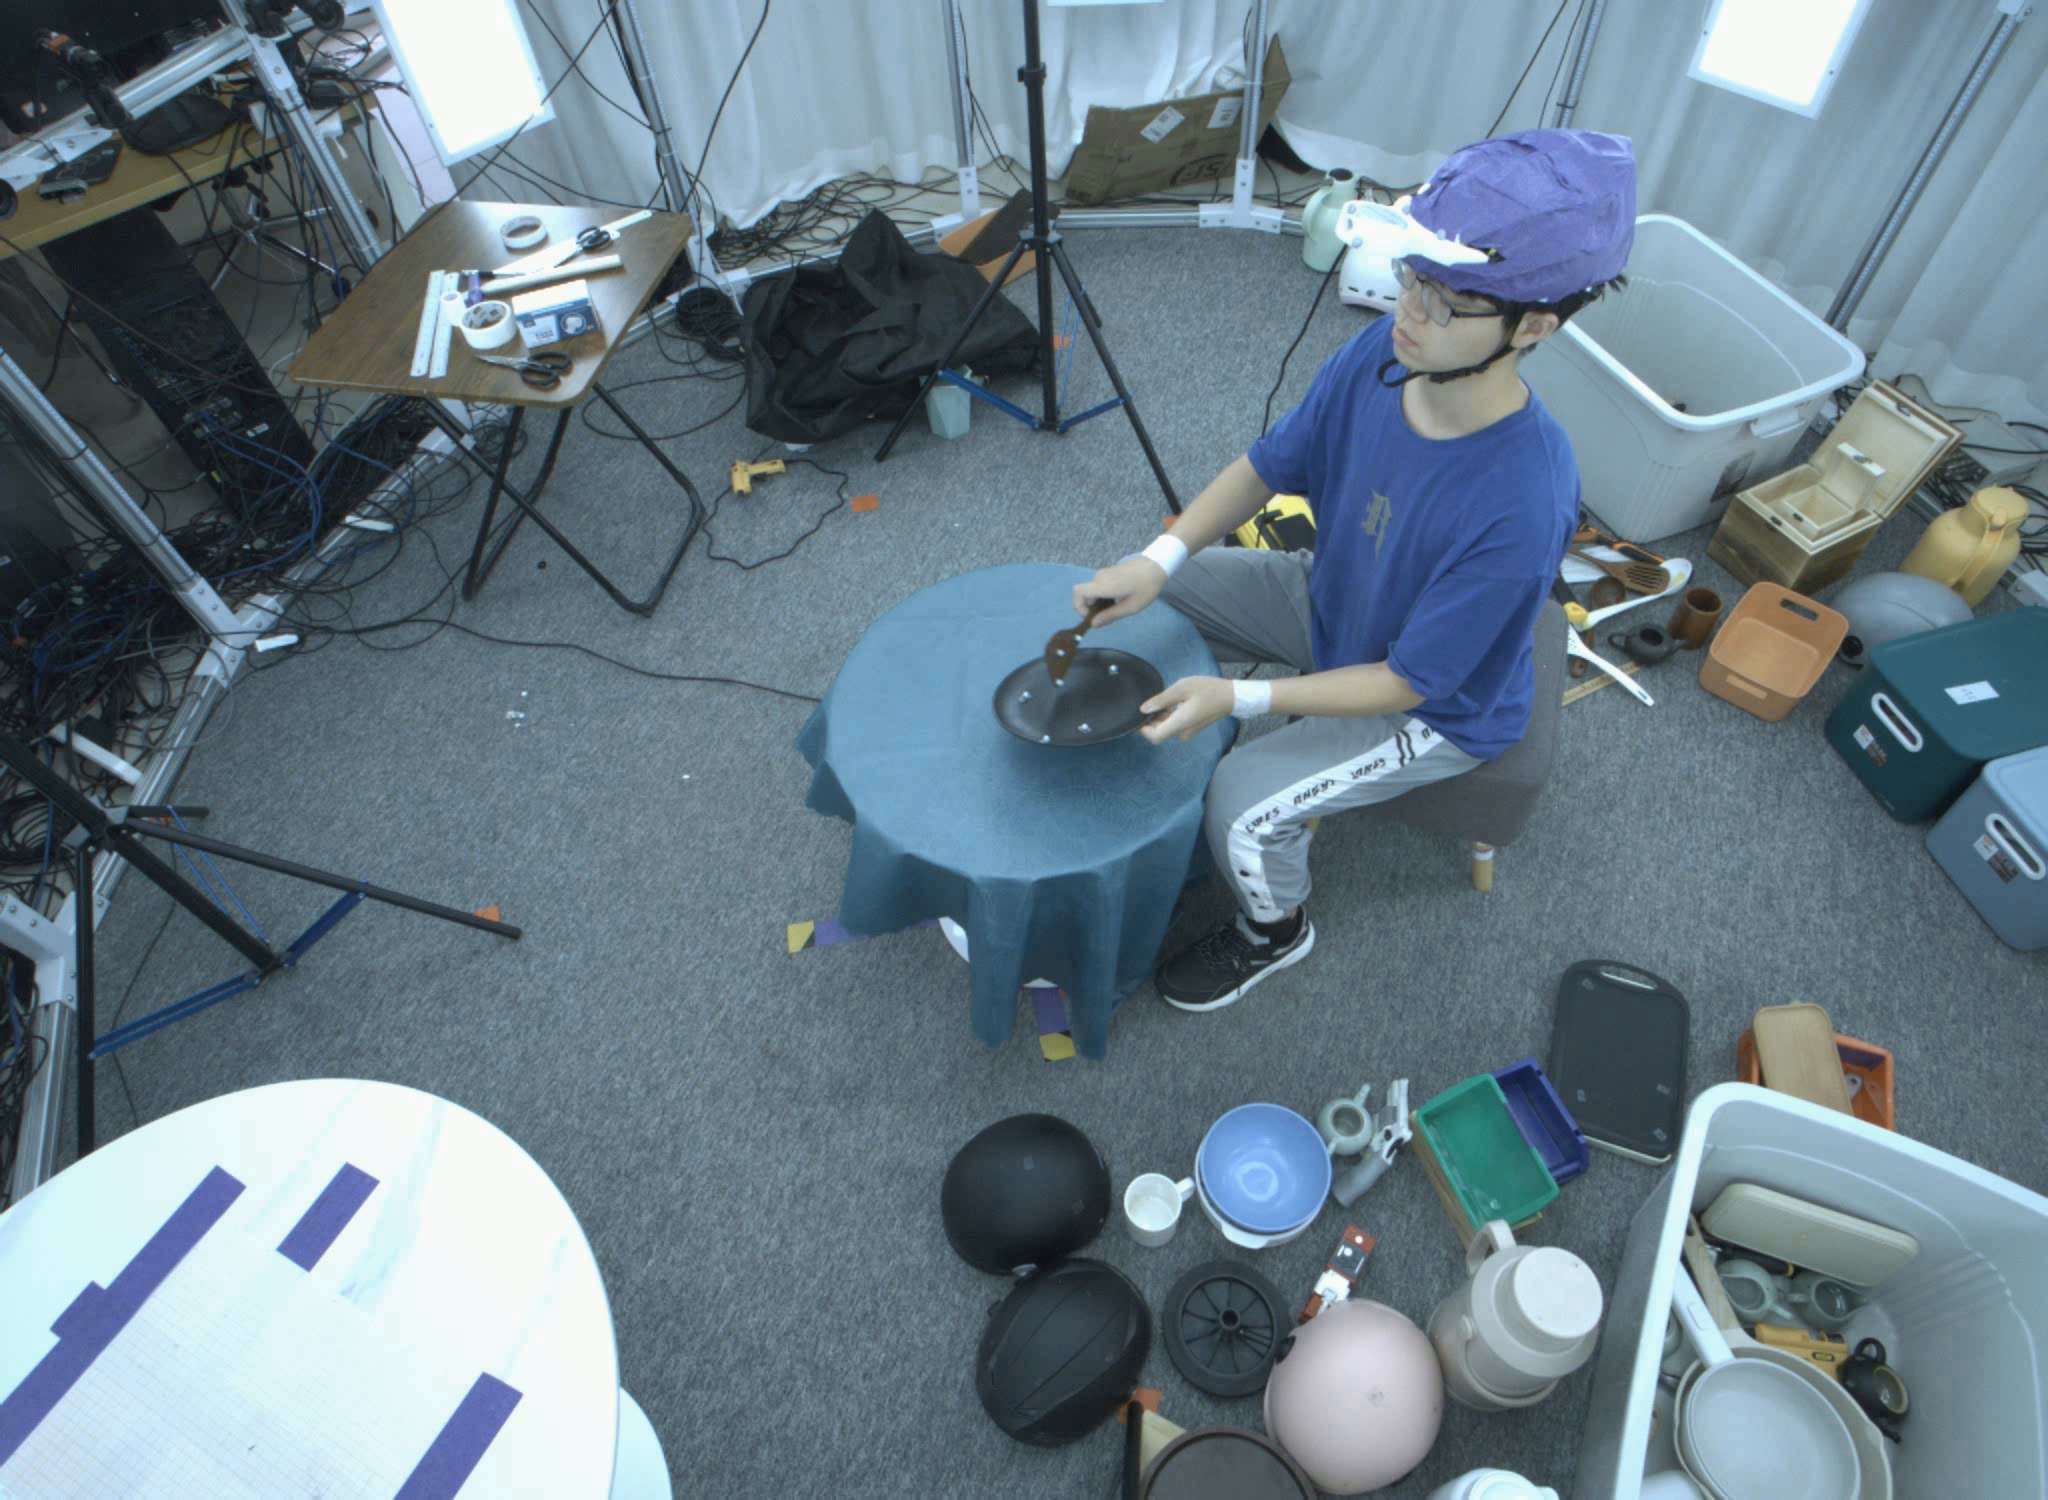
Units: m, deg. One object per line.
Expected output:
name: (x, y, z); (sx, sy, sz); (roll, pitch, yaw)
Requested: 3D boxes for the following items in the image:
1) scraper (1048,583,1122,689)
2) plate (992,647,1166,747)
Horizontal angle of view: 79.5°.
scraper: (0.089, -0.175, 1.765); (0.010, 0.077, 0.212); (12, 46, 31)
plate: (0.077, -0.071, 1.717); (0.244, 0.024, 0.242); (-4, 37, 5)
